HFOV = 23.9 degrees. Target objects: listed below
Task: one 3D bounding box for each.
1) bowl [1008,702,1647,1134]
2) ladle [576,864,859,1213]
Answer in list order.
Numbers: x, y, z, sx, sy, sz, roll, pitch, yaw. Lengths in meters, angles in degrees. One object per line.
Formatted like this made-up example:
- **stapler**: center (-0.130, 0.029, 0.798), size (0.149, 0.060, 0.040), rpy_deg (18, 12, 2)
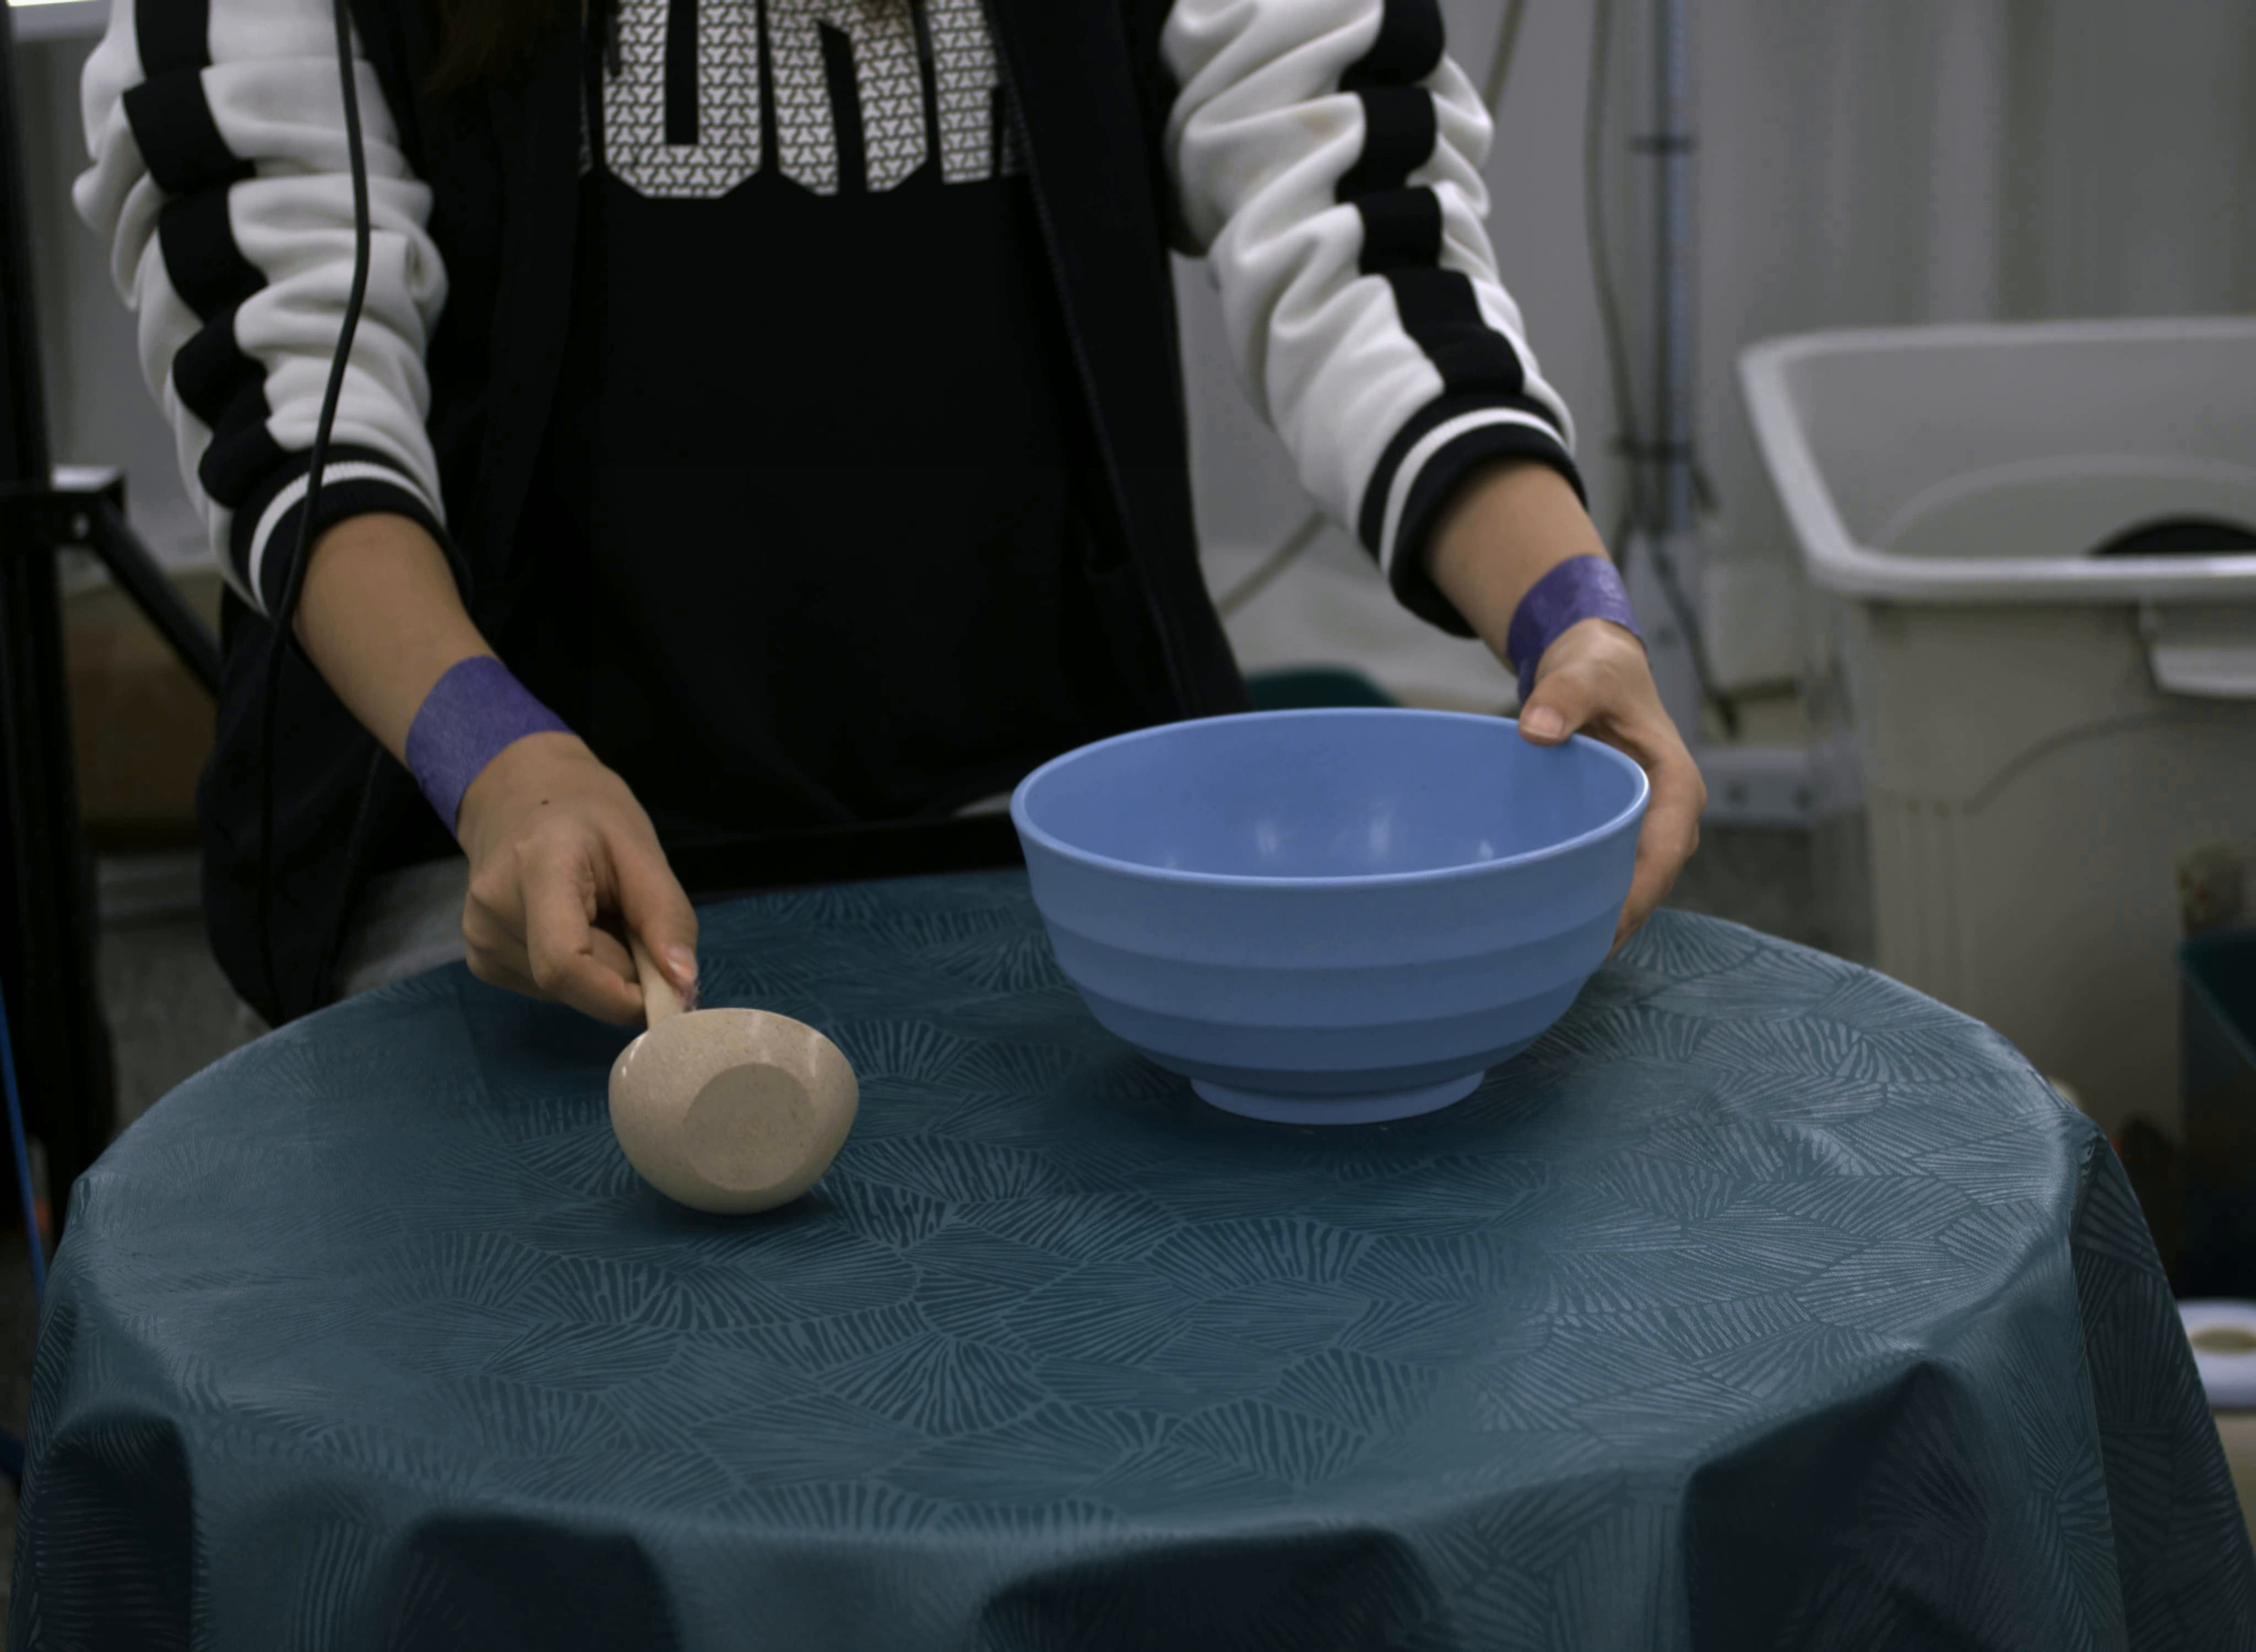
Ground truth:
- **bowl**: center (0.064, 0.035, 1.638), size (0.195, 0.095, 0.197), rpy_deg (-5, 17, 0)
- **ladle**: center (-0.134, 0.037, 1.636), size (0.071, 0.073, 0.258), rpy_deg (20, 19, -20)
